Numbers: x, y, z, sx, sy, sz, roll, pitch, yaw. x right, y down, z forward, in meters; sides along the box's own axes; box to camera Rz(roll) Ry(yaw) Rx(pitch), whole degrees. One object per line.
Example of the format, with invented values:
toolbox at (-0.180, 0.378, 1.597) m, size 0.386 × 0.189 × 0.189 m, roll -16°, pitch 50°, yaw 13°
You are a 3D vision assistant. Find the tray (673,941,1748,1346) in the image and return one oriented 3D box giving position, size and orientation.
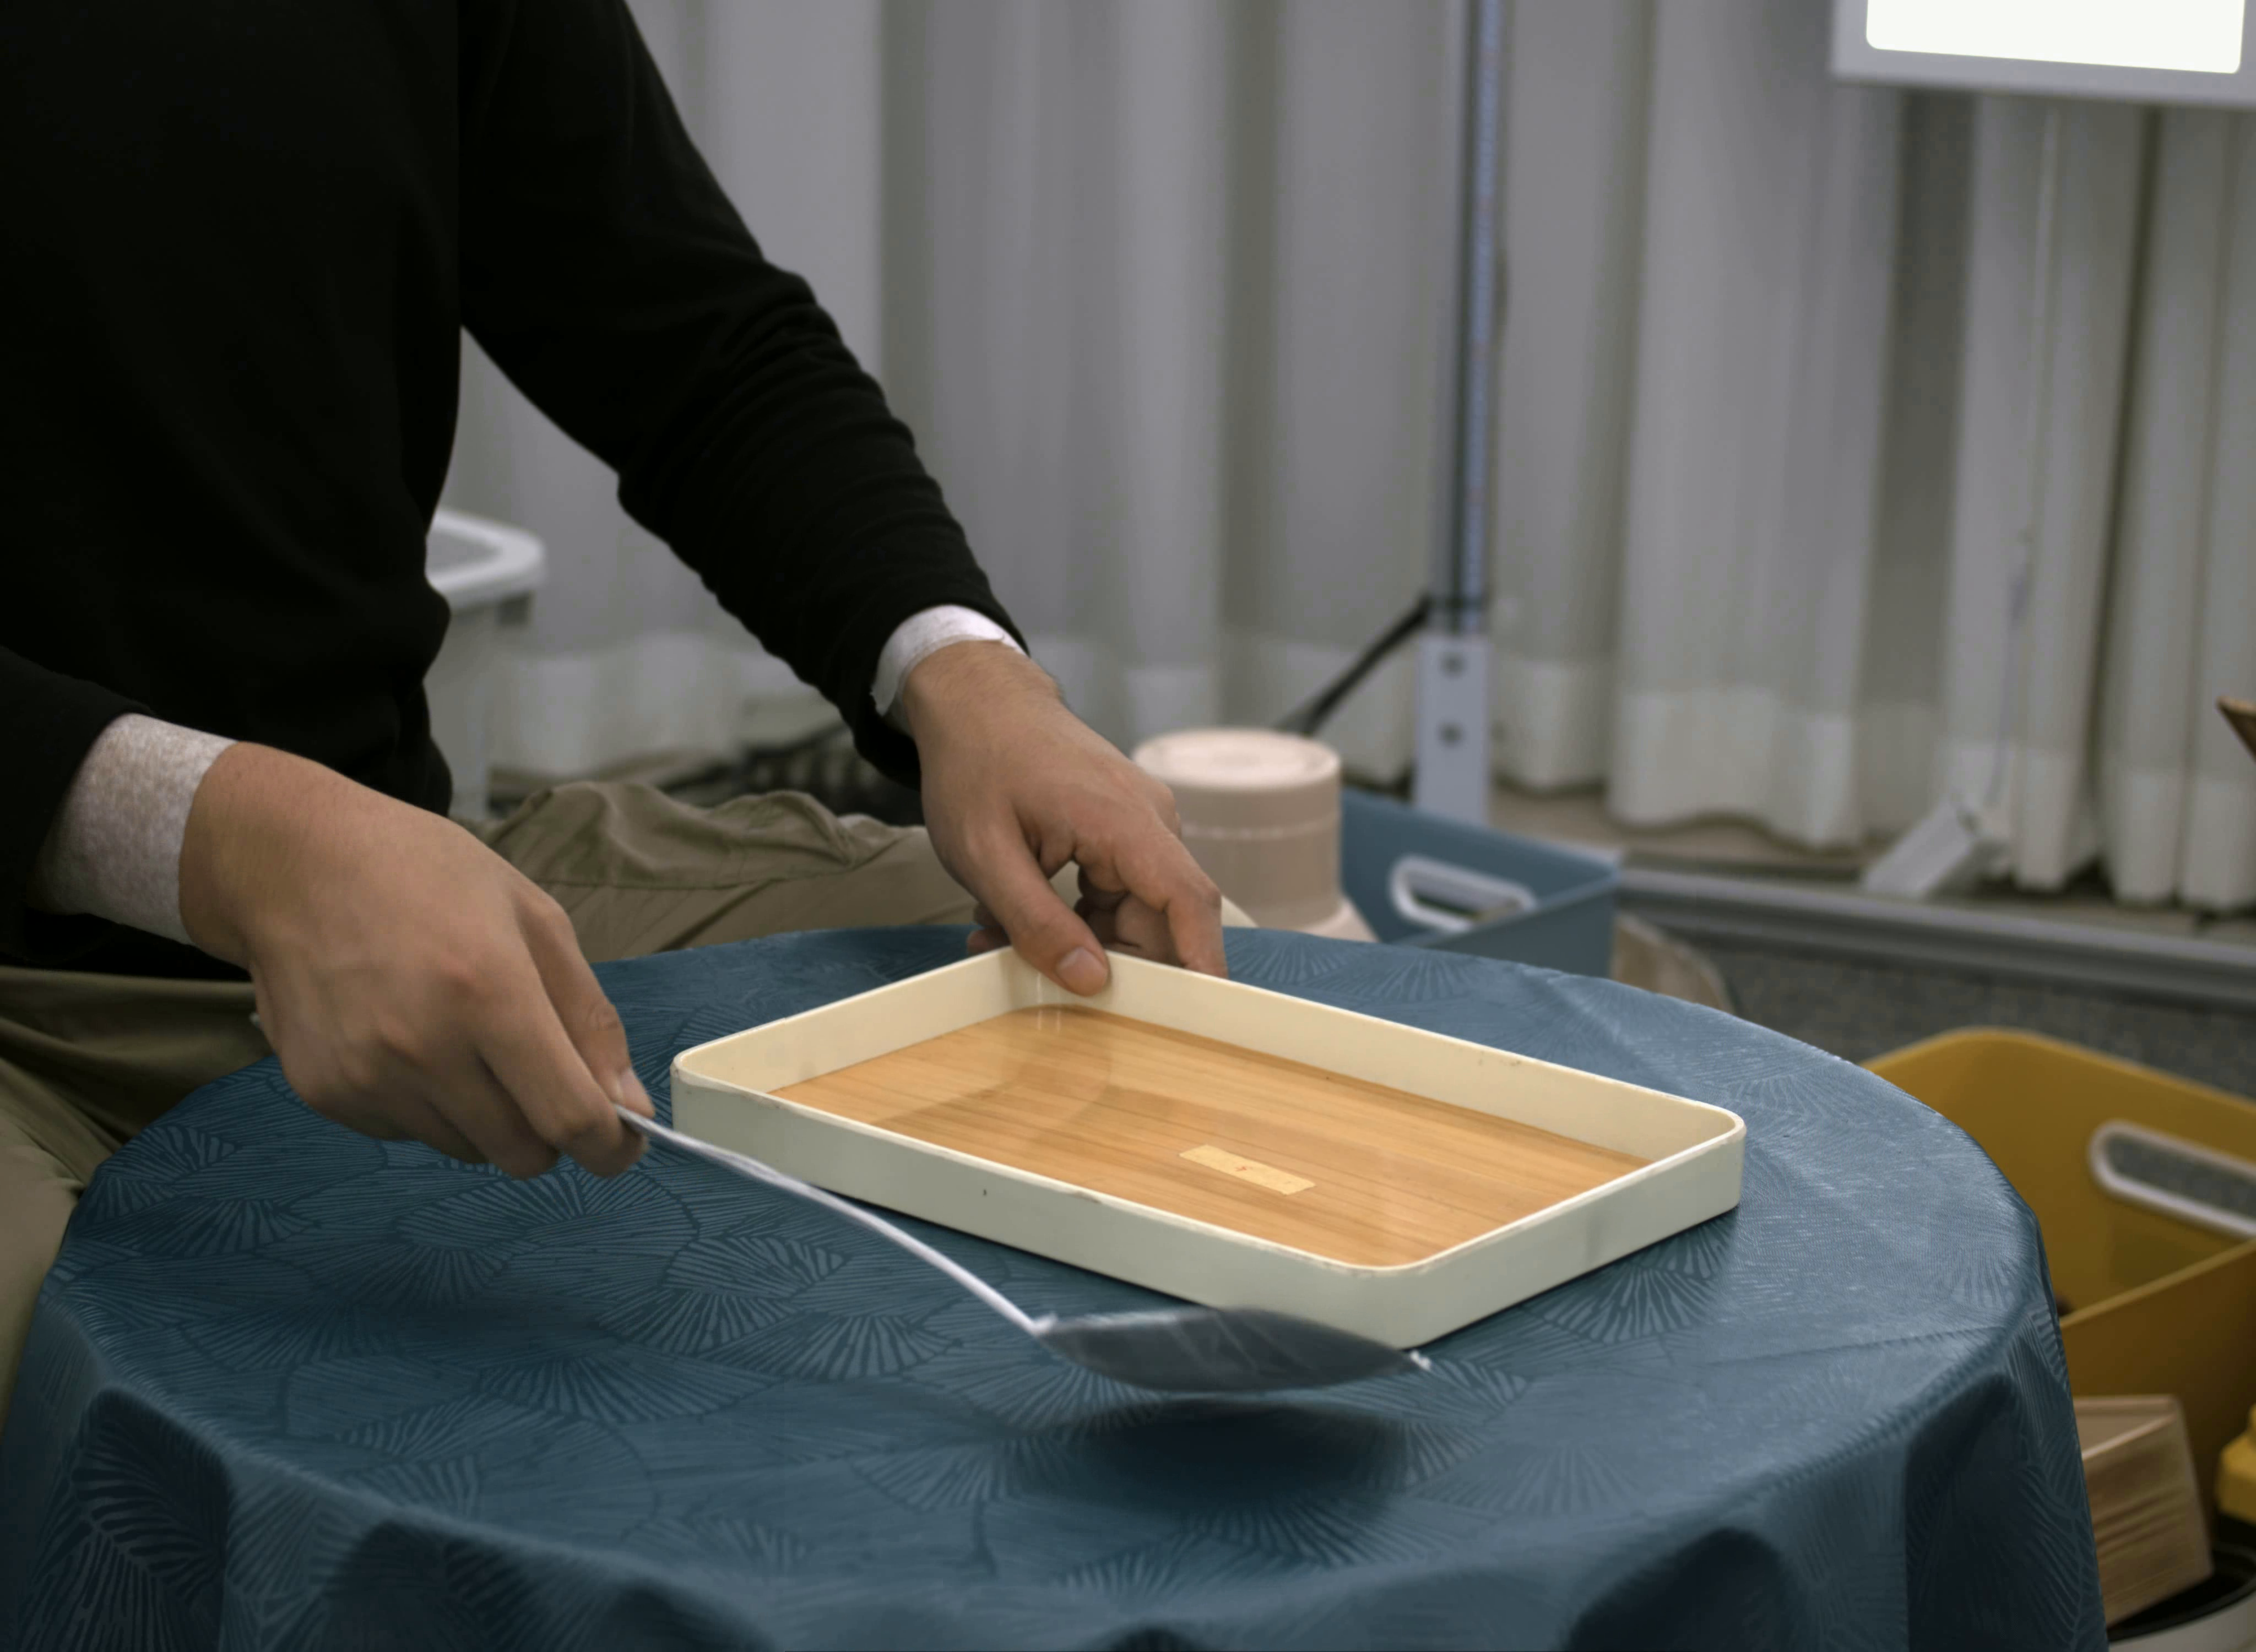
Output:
tray at (0.023, 0.094, 1.637) m, size 0.296 × 0.027 × 0.192 m, roll 13°, pitch 20°, yaw 39°

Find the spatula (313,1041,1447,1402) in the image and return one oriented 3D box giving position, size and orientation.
spatula at (-0.083, 0.102, 1.466) m, size 0.360 × 0.045 × 0.099 m, roll 20°, pitch -4°, yaw 25°
